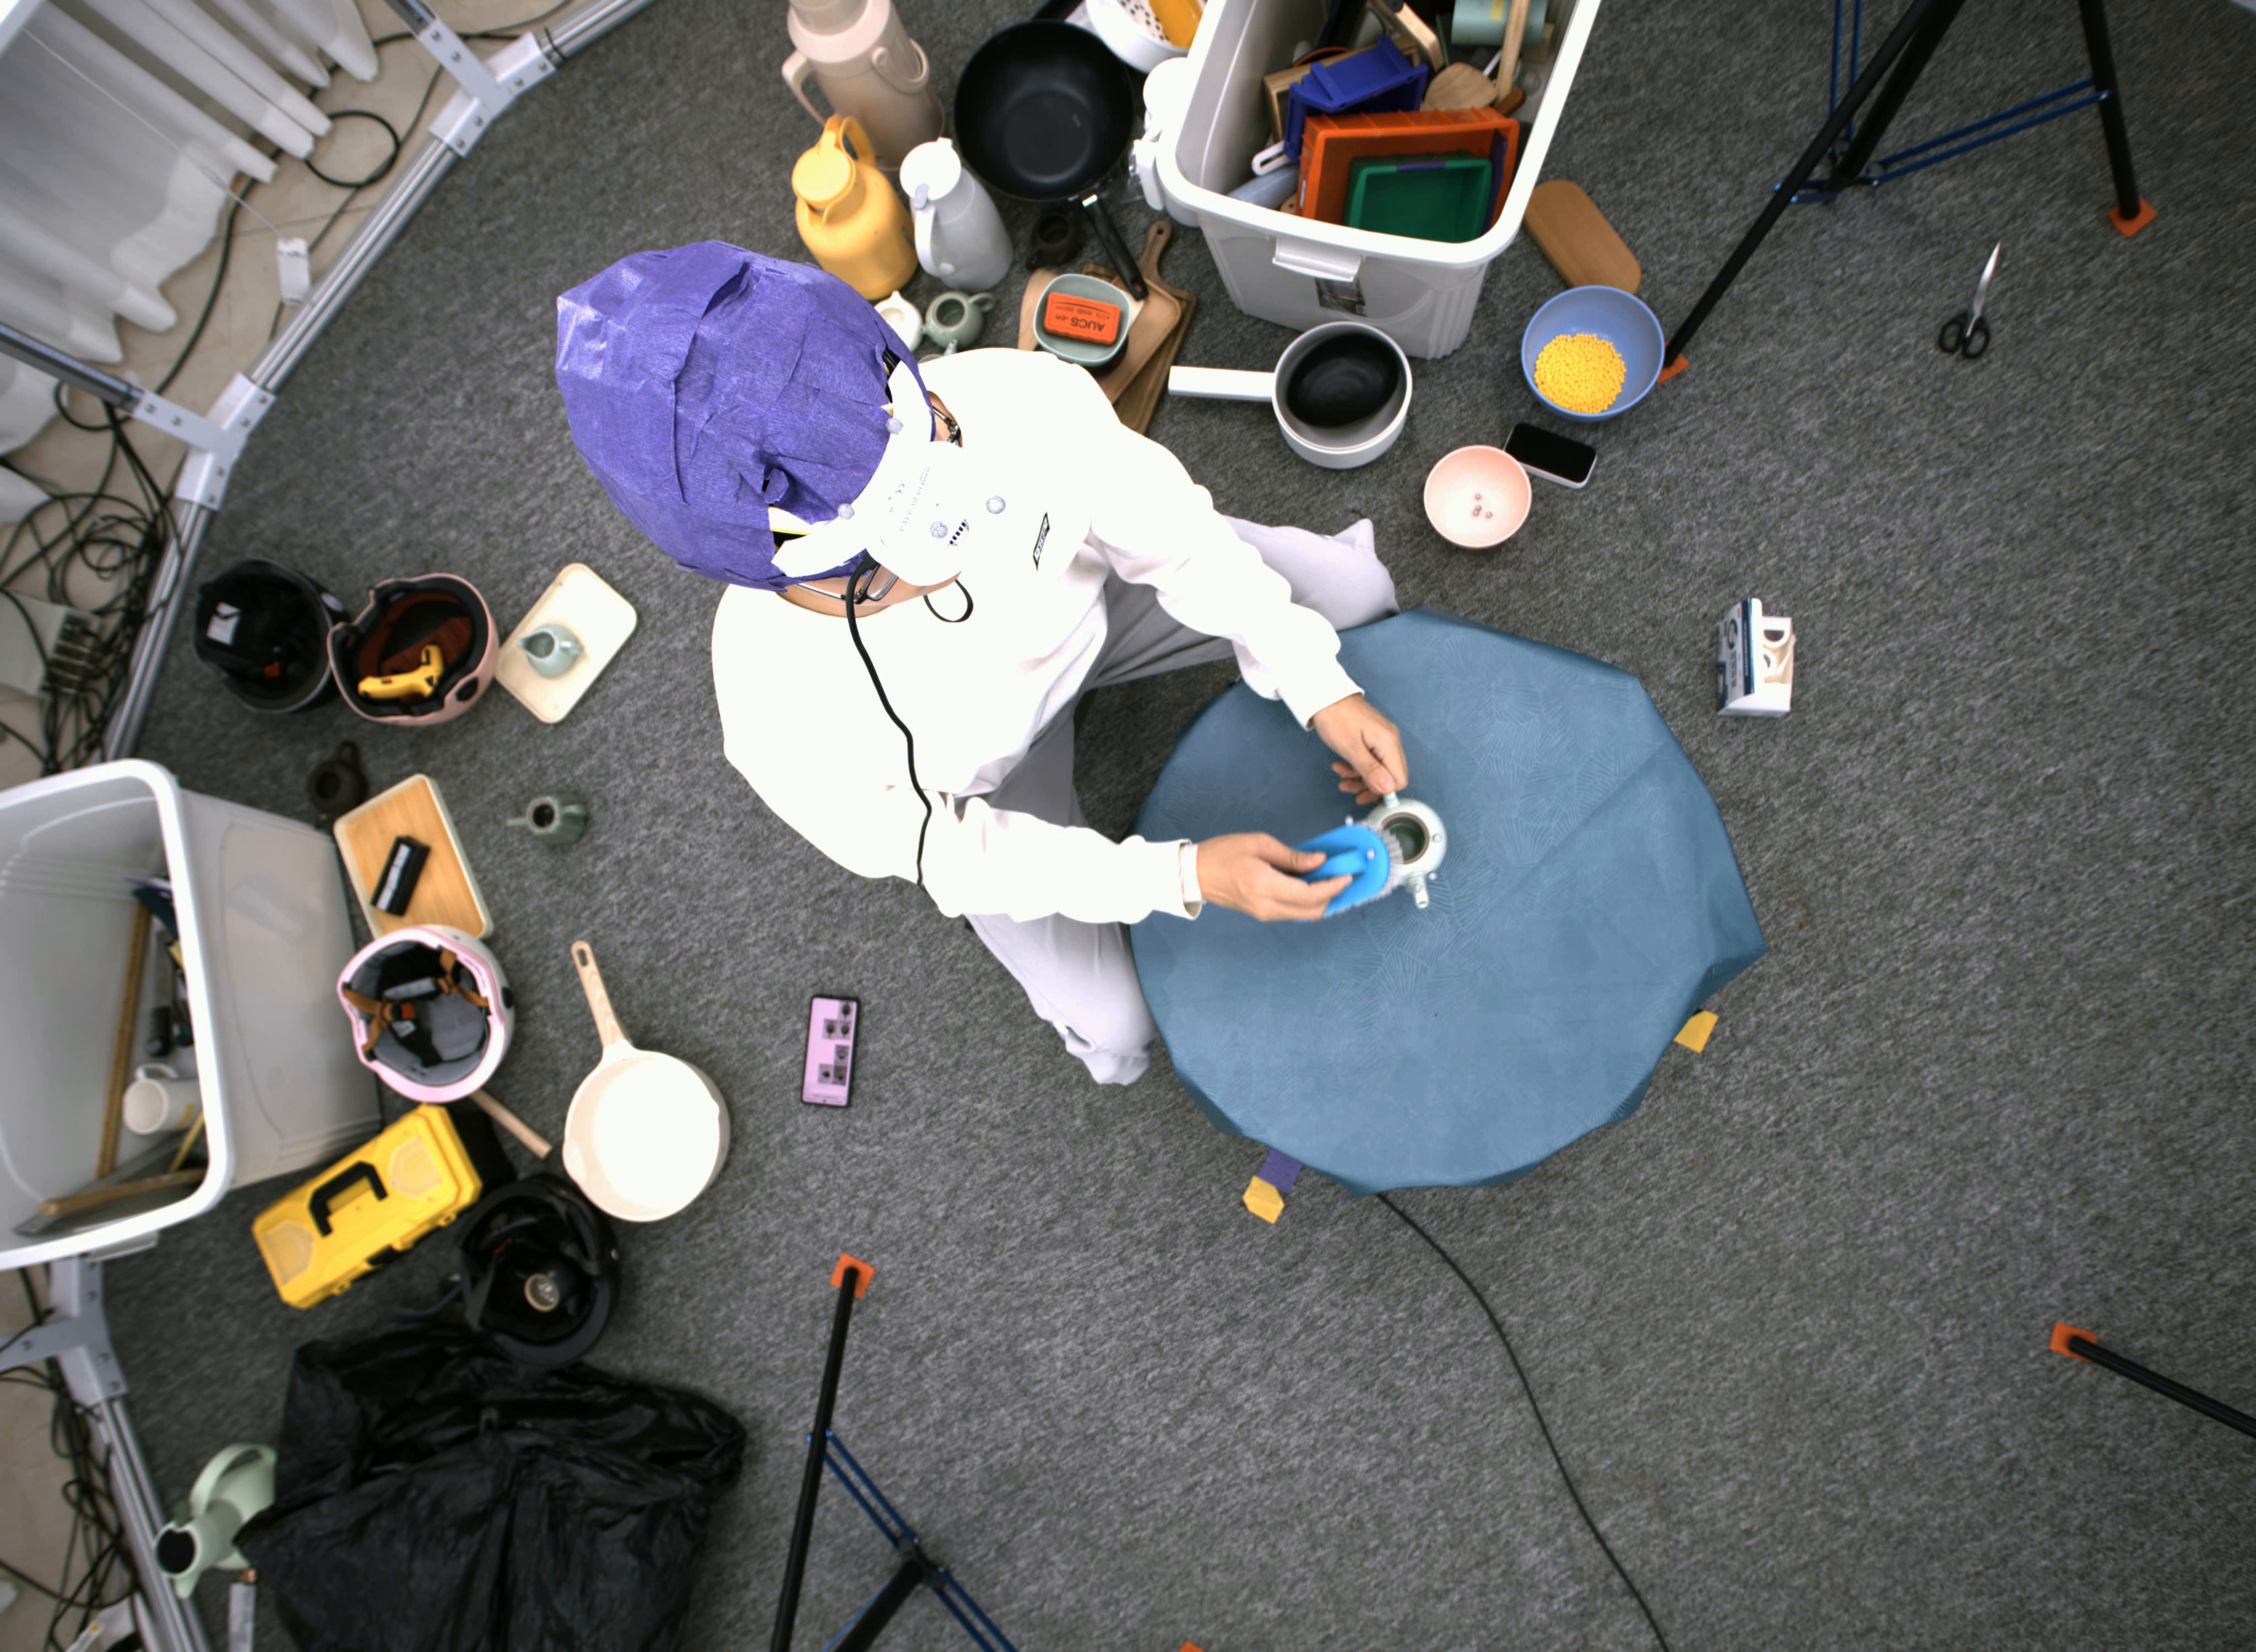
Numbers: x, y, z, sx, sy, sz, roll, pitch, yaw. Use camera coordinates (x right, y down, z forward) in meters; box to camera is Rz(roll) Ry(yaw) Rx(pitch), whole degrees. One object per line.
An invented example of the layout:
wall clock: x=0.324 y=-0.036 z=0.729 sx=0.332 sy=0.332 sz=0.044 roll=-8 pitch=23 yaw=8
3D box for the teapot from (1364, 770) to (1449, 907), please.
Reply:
teapot: x=0.281 y=0.011 z=1.398 sx=0.089 sy=0.074 sz=0.143 roll=-16 pitch=86 yaw=11

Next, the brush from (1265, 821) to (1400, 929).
brush: x=0.191 y=0.051 z=1.335 sx=0.144 sy=0.063 sz=0.084 roll=-25 pitch=85 yaw=39
